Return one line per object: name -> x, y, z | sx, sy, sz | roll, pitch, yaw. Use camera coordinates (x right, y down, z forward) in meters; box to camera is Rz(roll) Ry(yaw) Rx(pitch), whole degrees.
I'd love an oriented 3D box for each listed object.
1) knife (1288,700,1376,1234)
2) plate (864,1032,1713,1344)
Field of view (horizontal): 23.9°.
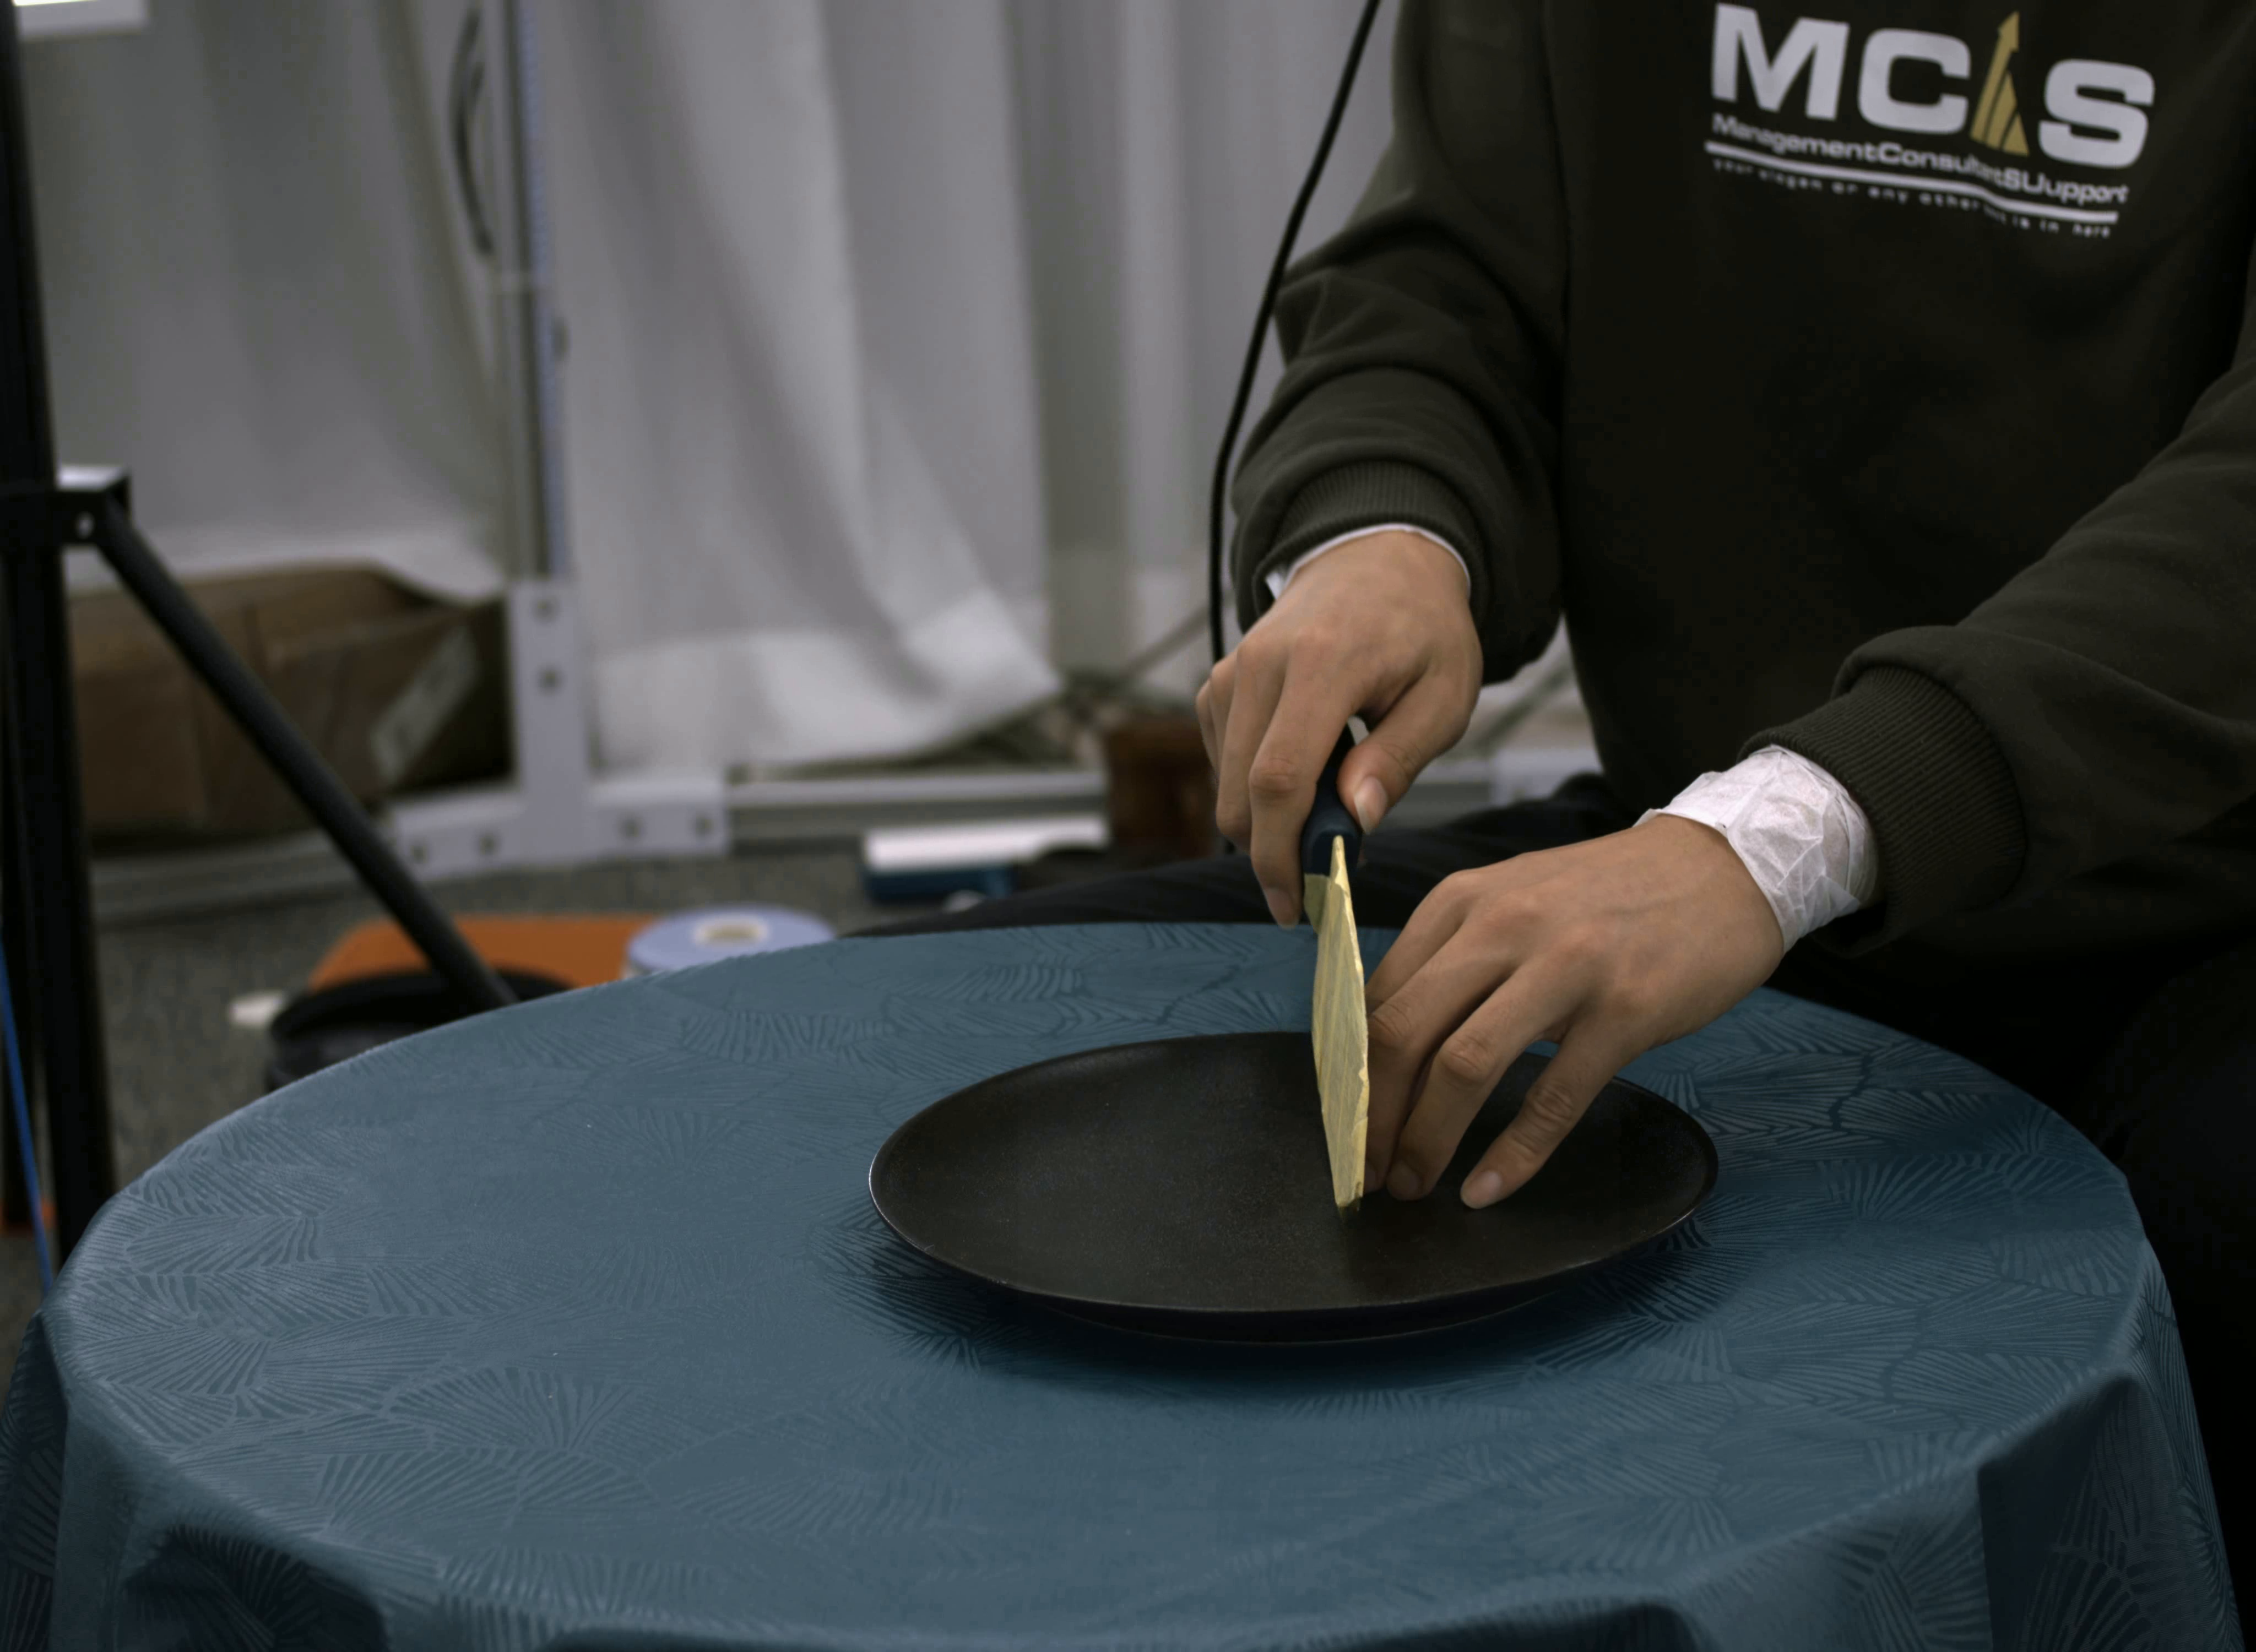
knife -> 0.062, 0.037, 1.588 | 0.027, 0.081, 0.291 | 7, 26, -3
plate -> 0.046, 0.106, 1.520 | 0.243, 0.023, 0.245 | -2, 16, -1
